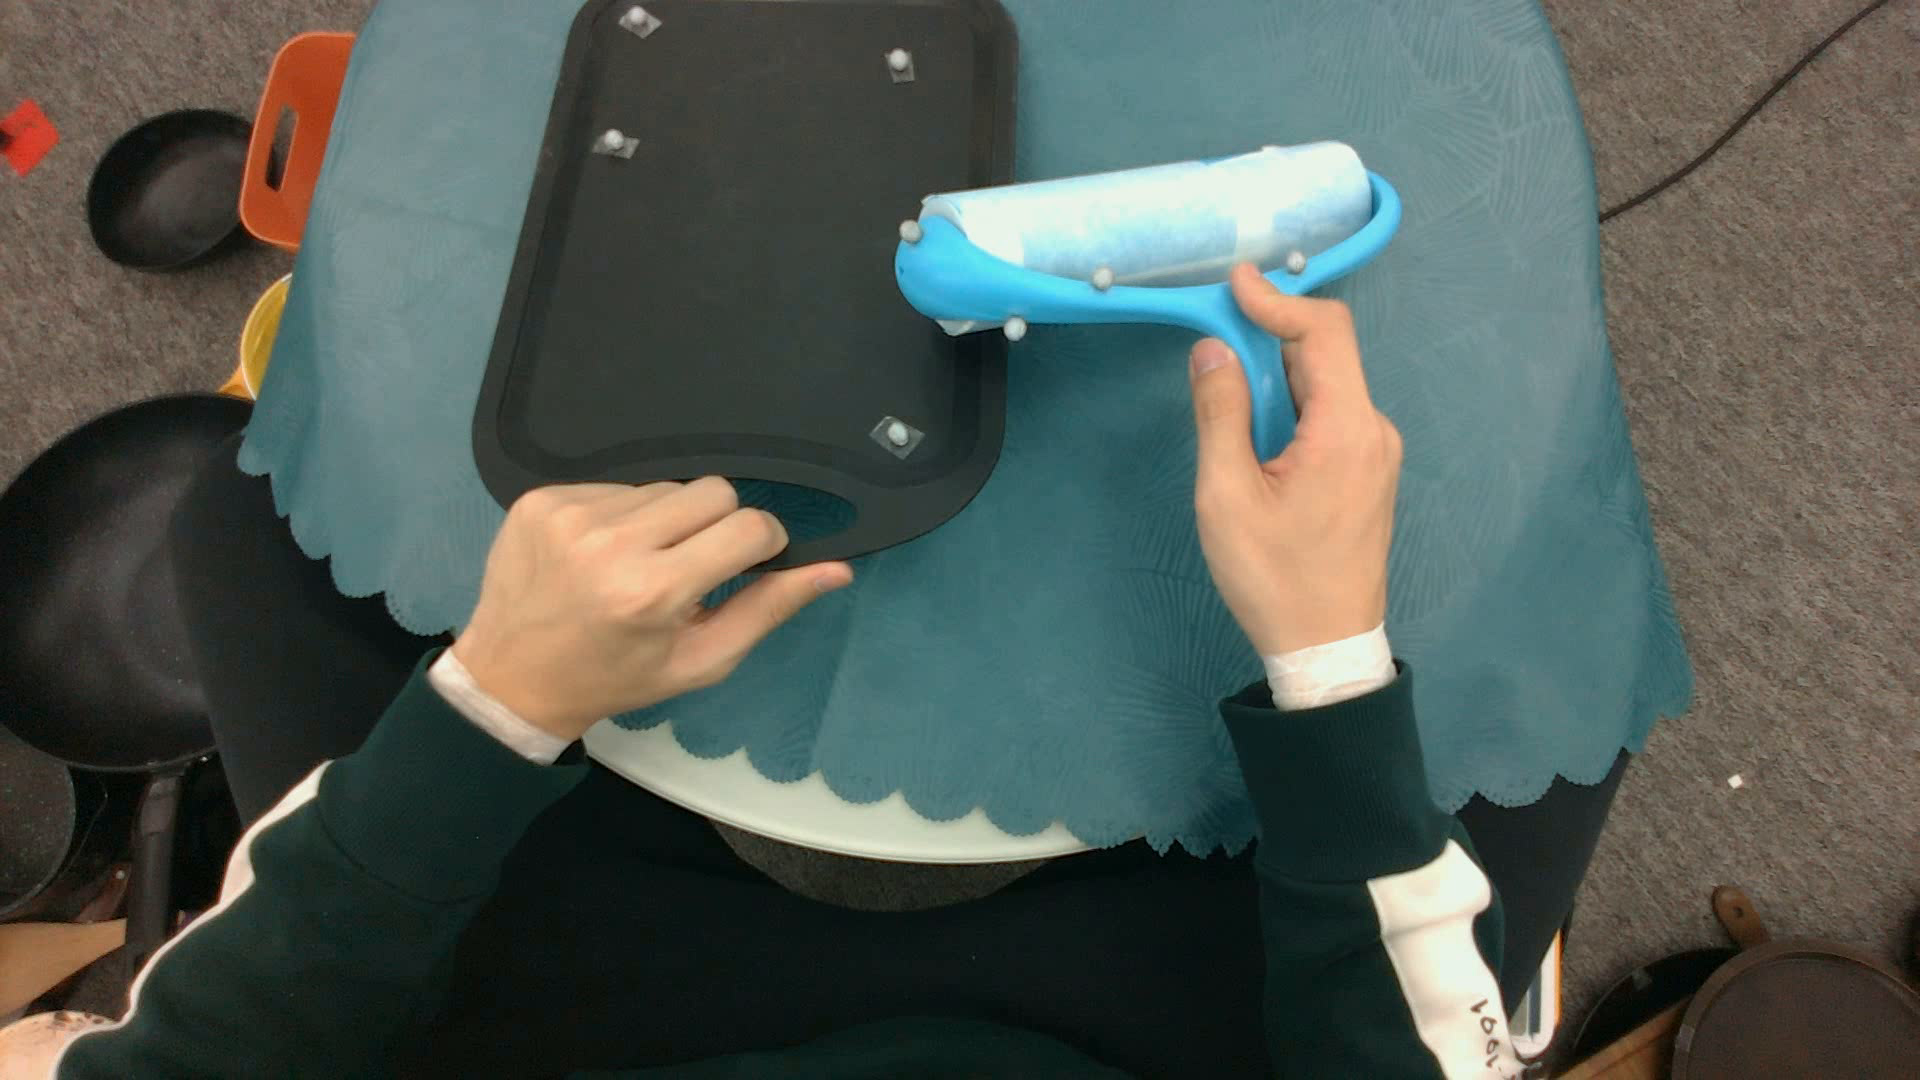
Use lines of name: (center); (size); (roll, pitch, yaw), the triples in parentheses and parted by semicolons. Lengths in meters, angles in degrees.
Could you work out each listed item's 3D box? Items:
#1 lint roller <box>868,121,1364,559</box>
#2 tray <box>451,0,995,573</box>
lint roller: (0.093, -0.084, 0.555); (0.230, 0.067, 0.180); (-18, 71, -28)
tray: (-0.092, -0.132, 0.585); (0.211, 0.010, 0.326); (1, 61, 1)
